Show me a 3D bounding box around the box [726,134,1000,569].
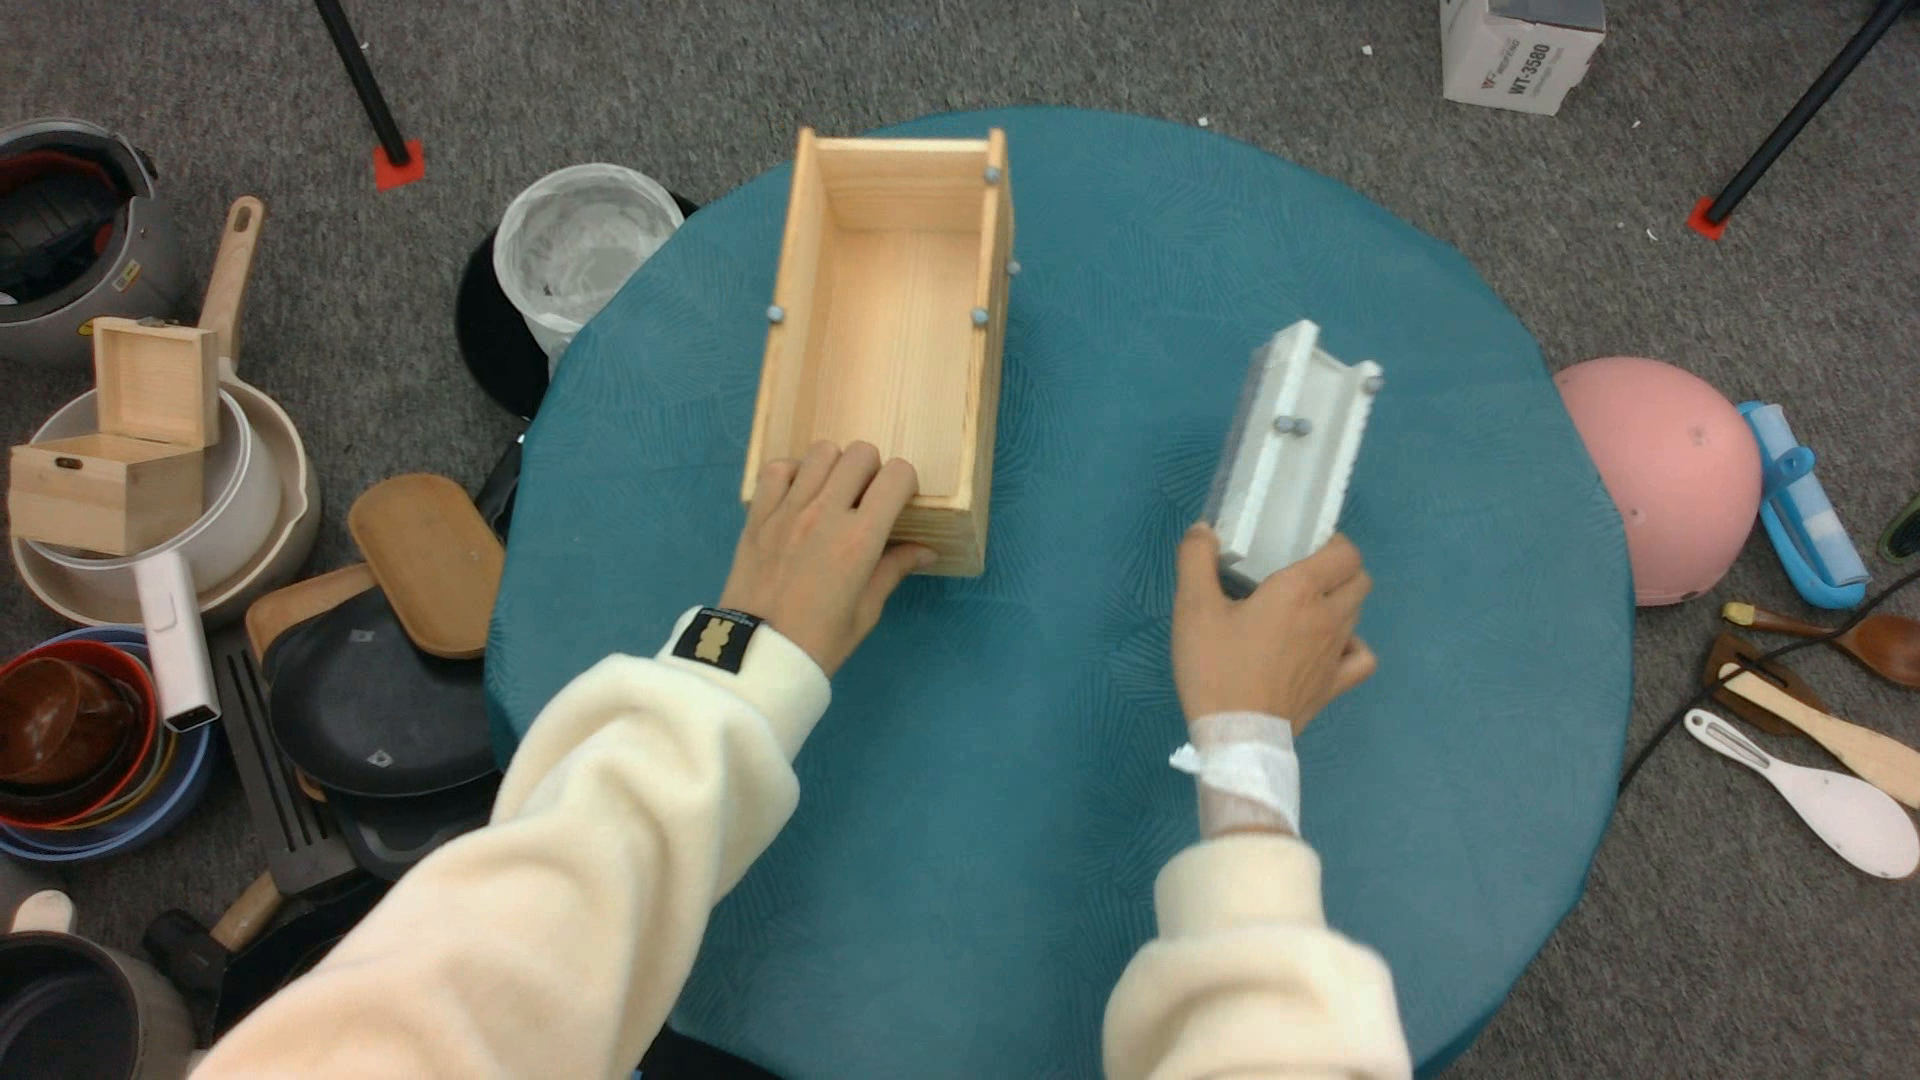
[{"bbox_3d":[-0.042,-0.098,0.698,0.107,0.080,0.212,2,64,6],"label":"box"}]

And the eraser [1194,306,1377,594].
[{"bbox_3d":[0.160,-0.044,0.682,0.050,0.046,0.135,26,67,-12],"label":"eraser"}]
